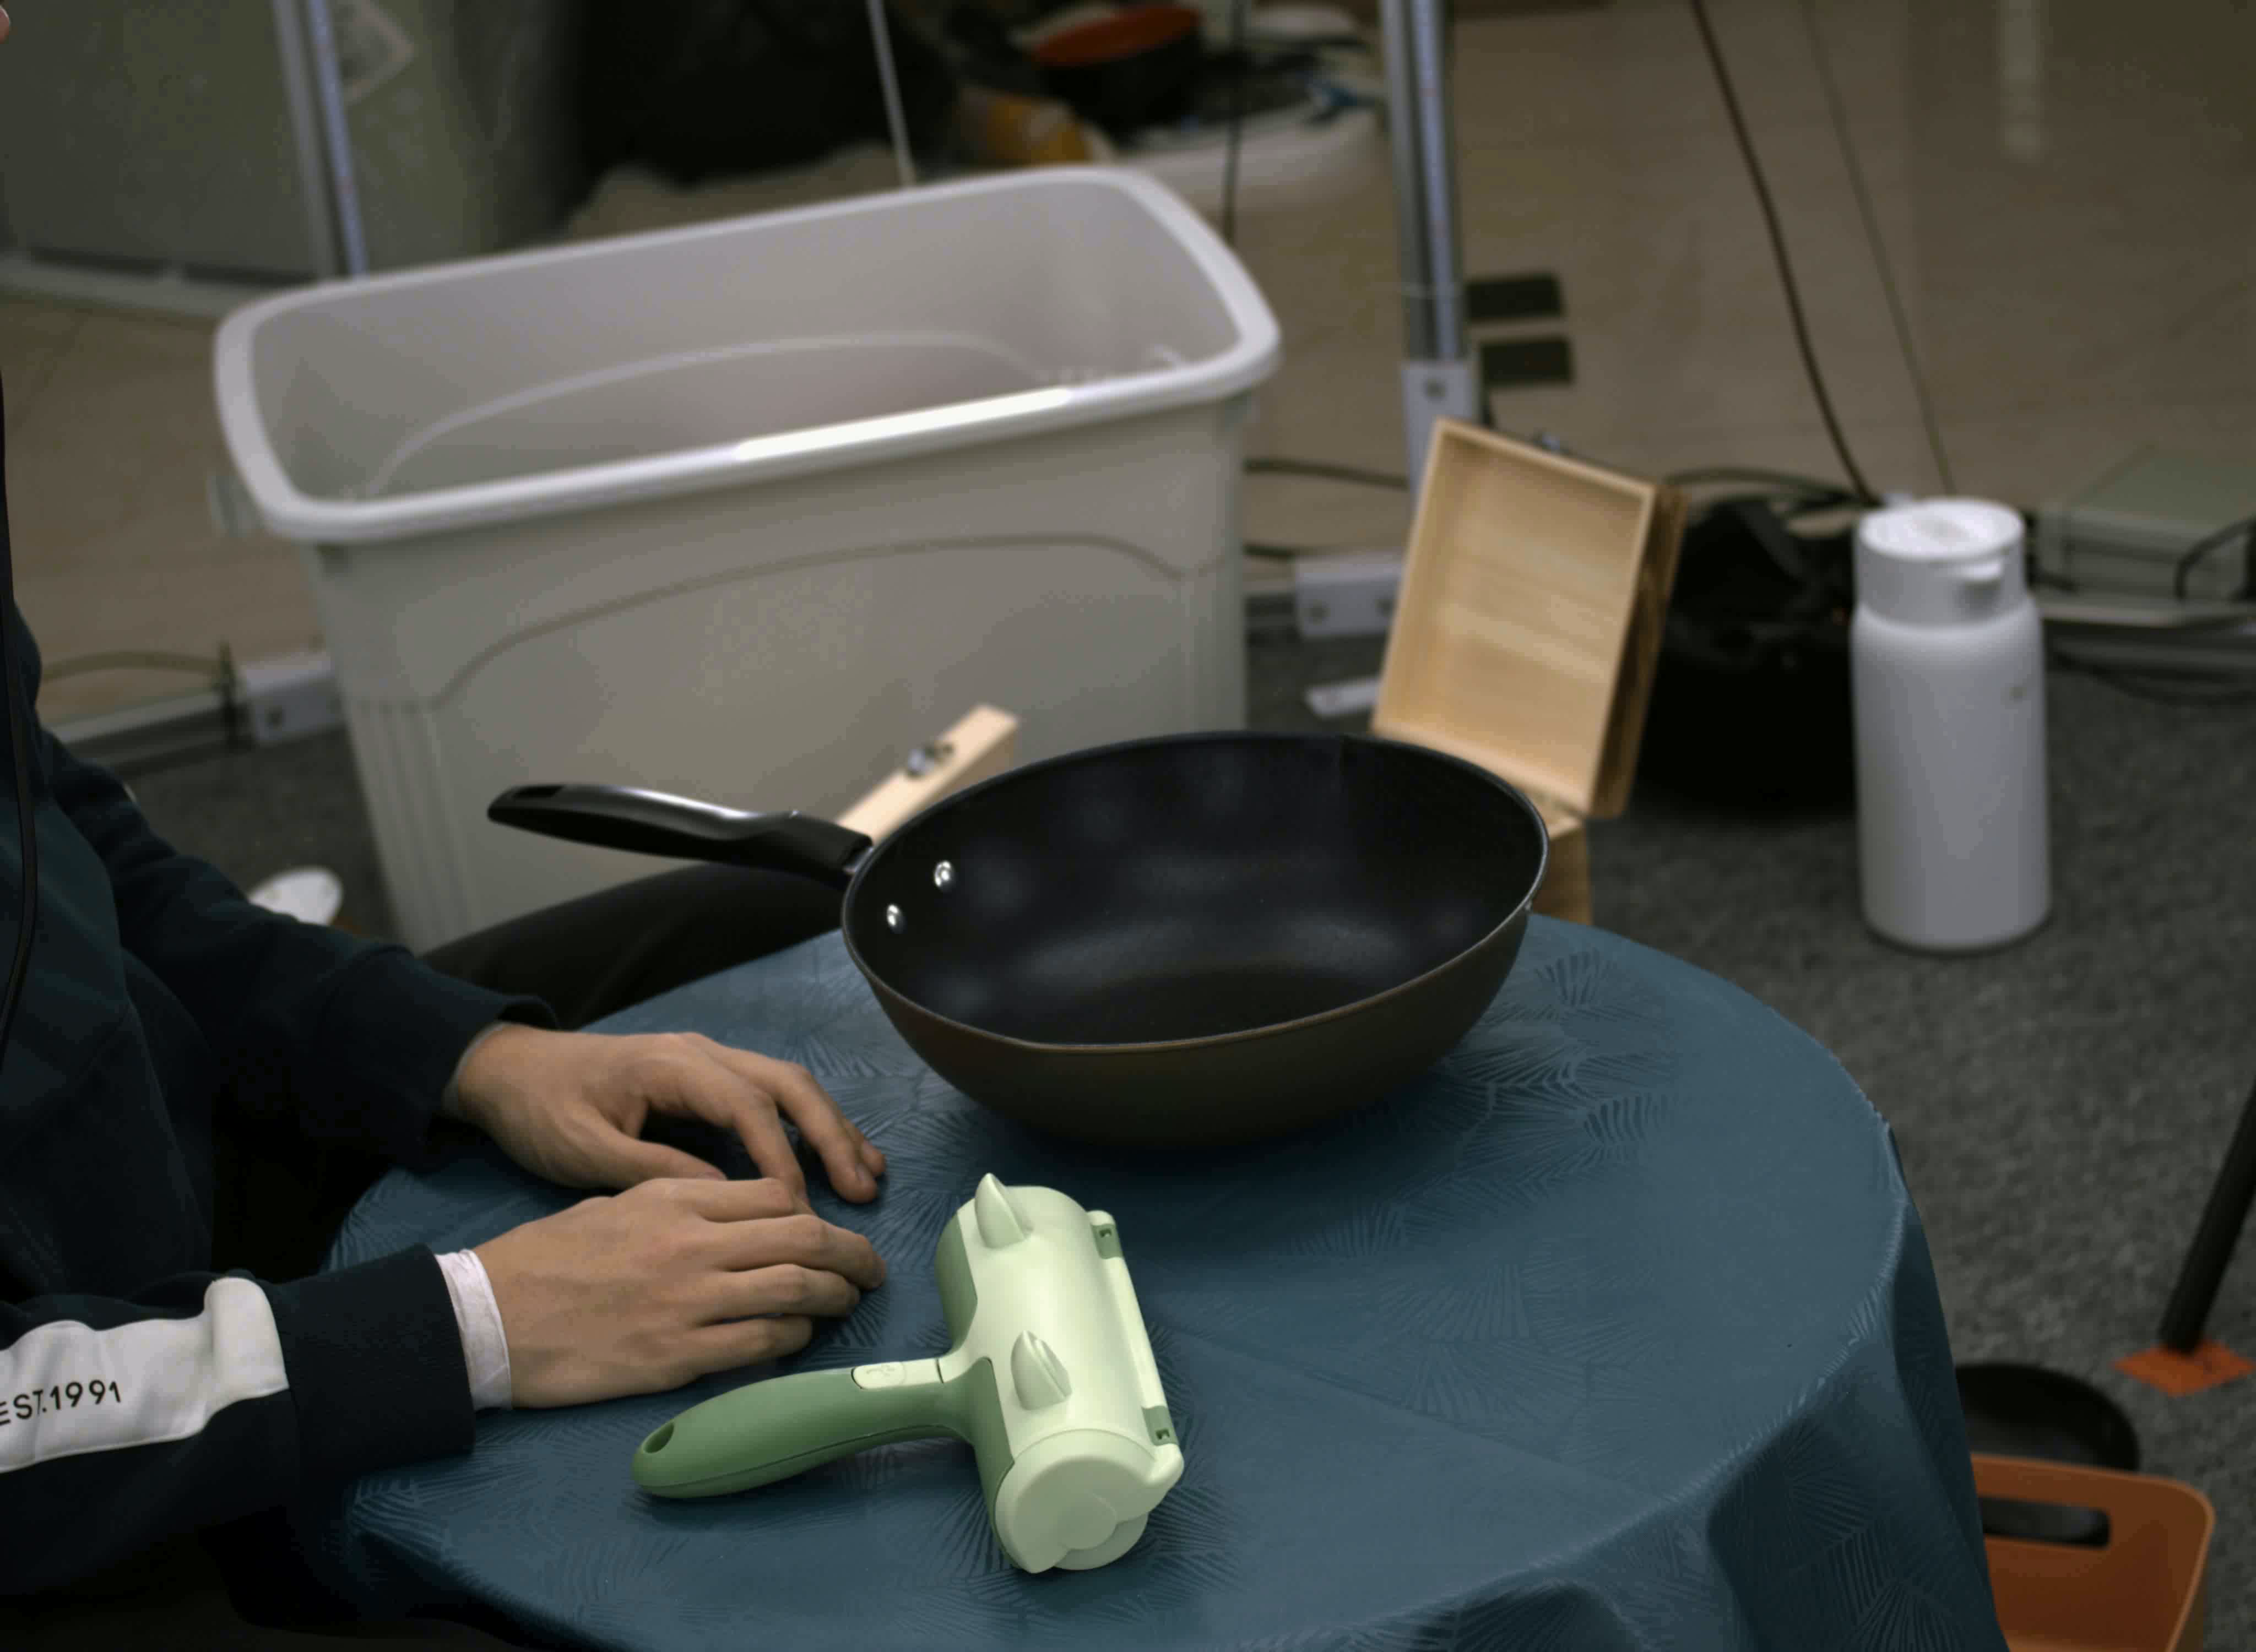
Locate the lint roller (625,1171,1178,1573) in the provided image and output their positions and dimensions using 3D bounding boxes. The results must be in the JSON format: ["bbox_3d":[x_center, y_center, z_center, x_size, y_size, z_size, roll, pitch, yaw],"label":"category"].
[{"bbox_3d":[-0.085,0.187,1.972,0.183,0.083,0.195,-4,25,-6],"label":"lint roller"}]

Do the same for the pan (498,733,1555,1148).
[{"bbox_3d":[-0.051,0.046,2.256,0.462,0.088,0.284,5,27,26],"label":"pan"}]
